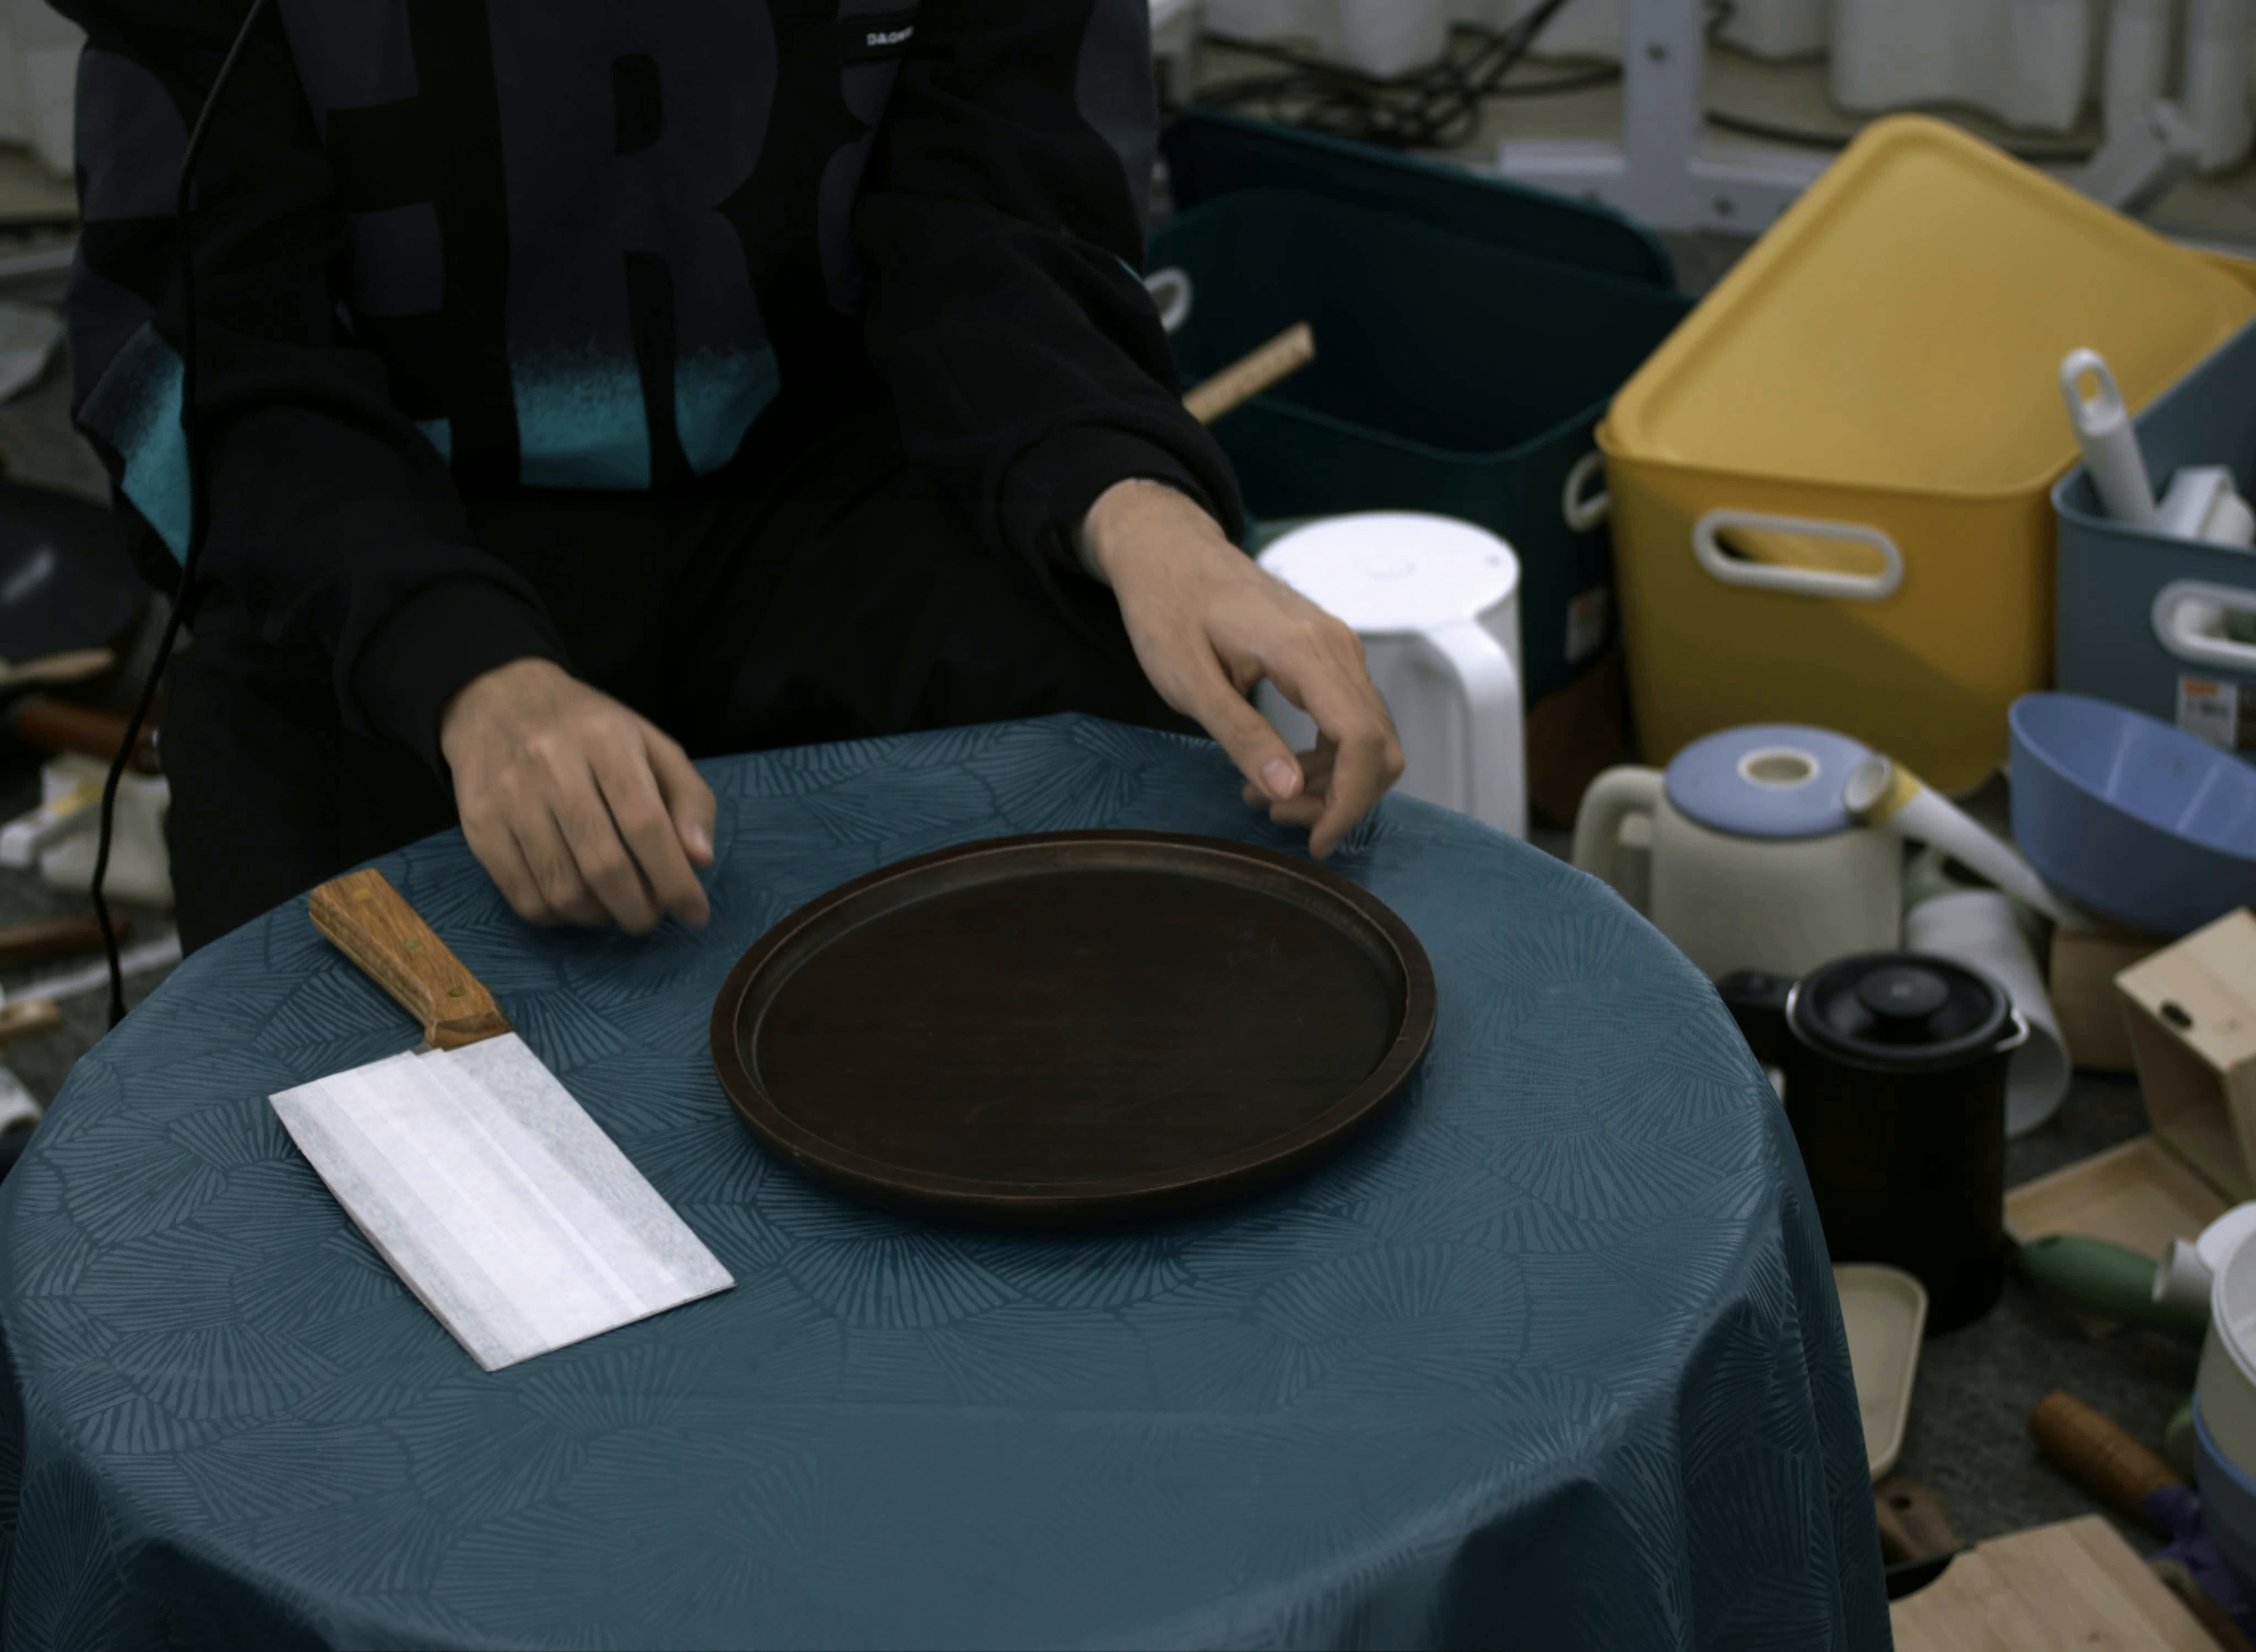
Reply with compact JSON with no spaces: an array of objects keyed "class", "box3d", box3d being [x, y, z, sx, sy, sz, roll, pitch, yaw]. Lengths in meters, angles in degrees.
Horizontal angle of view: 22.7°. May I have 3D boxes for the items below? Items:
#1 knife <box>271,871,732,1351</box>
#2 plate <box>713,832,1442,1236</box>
[{"class":"knife","box3d":[-0.238,0.097,1.917,0.093,0.021,0.307,-18,33,-24]},{"class":"plate","box3d":[-0.017,0.070,1.937,0.253,0.029,0.259,-1,28,1]}]
